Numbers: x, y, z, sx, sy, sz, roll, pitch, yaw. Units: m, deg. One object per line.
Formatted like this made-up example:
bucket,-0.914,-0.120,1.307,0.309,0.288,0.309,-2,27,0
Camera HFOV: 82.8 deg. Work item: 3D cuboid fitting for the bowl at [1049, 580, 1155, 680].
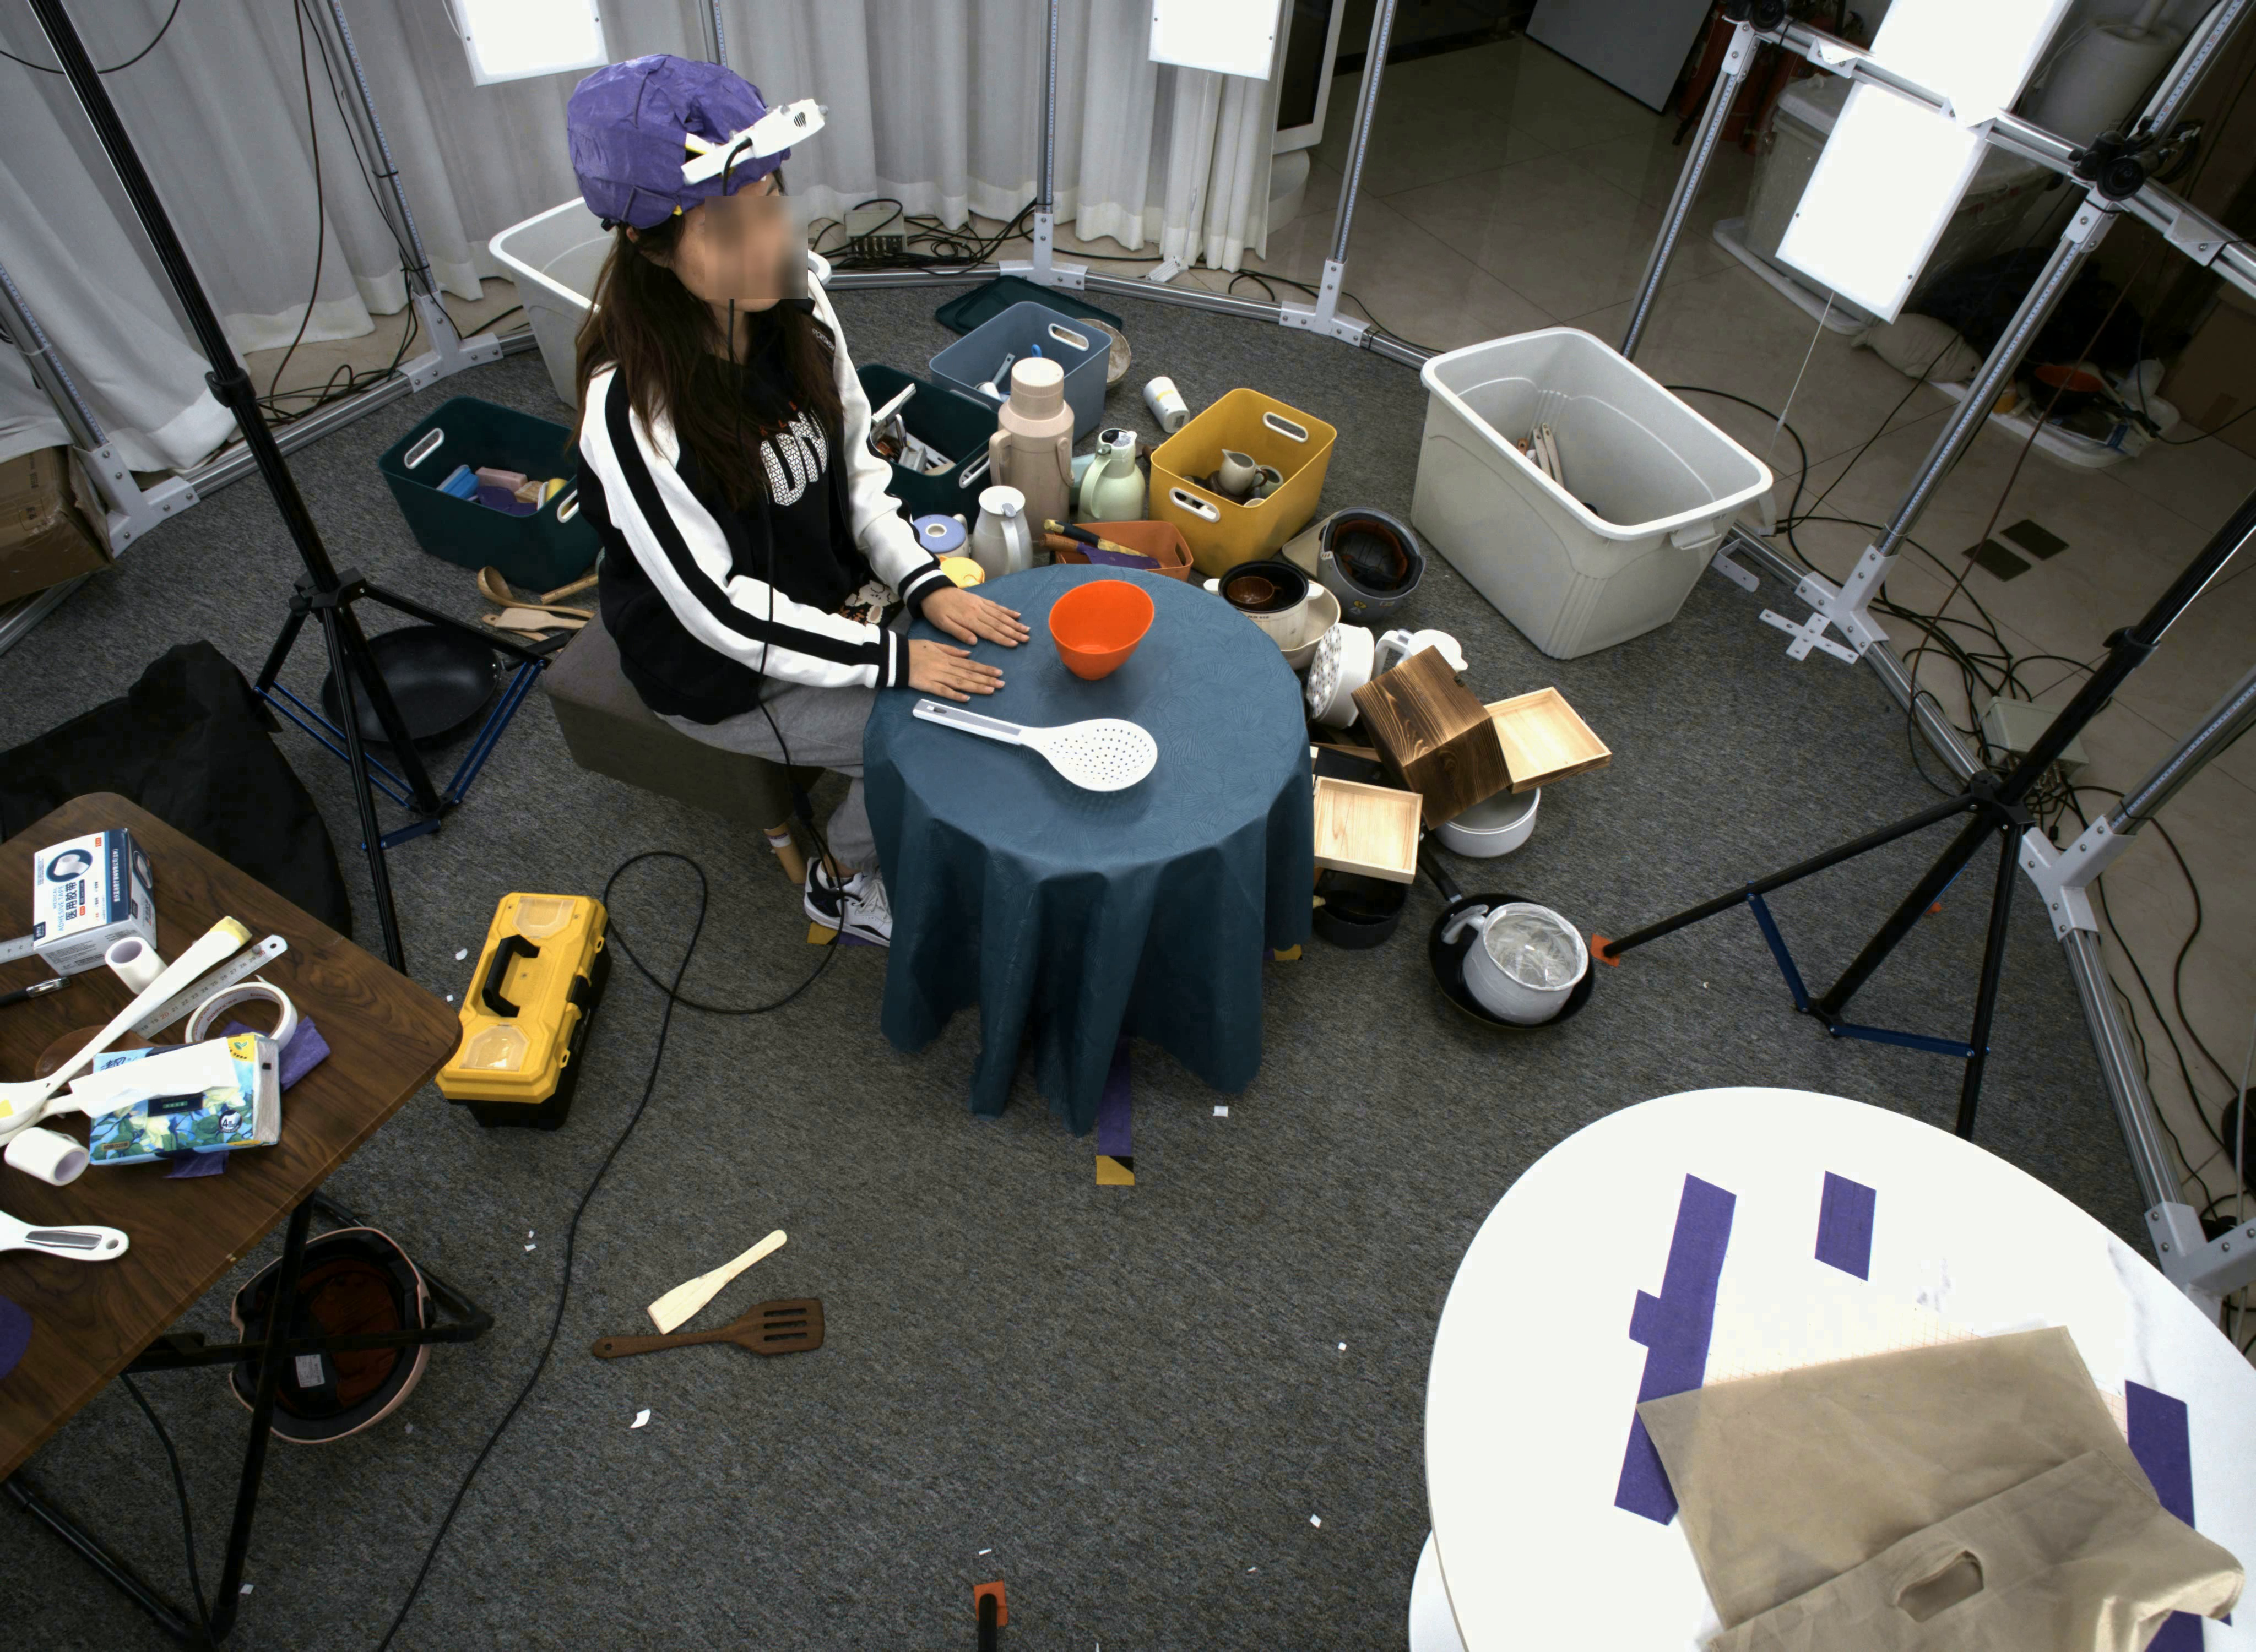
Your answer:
bowl,-0.039,-0.269,1.834,0.148,0.102,0.151,2,52,-2

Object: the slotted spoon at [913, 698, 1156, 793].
slotted spoon,-0.131,-0.119,1.735,0.351,0.044,0.138,19,49,13
